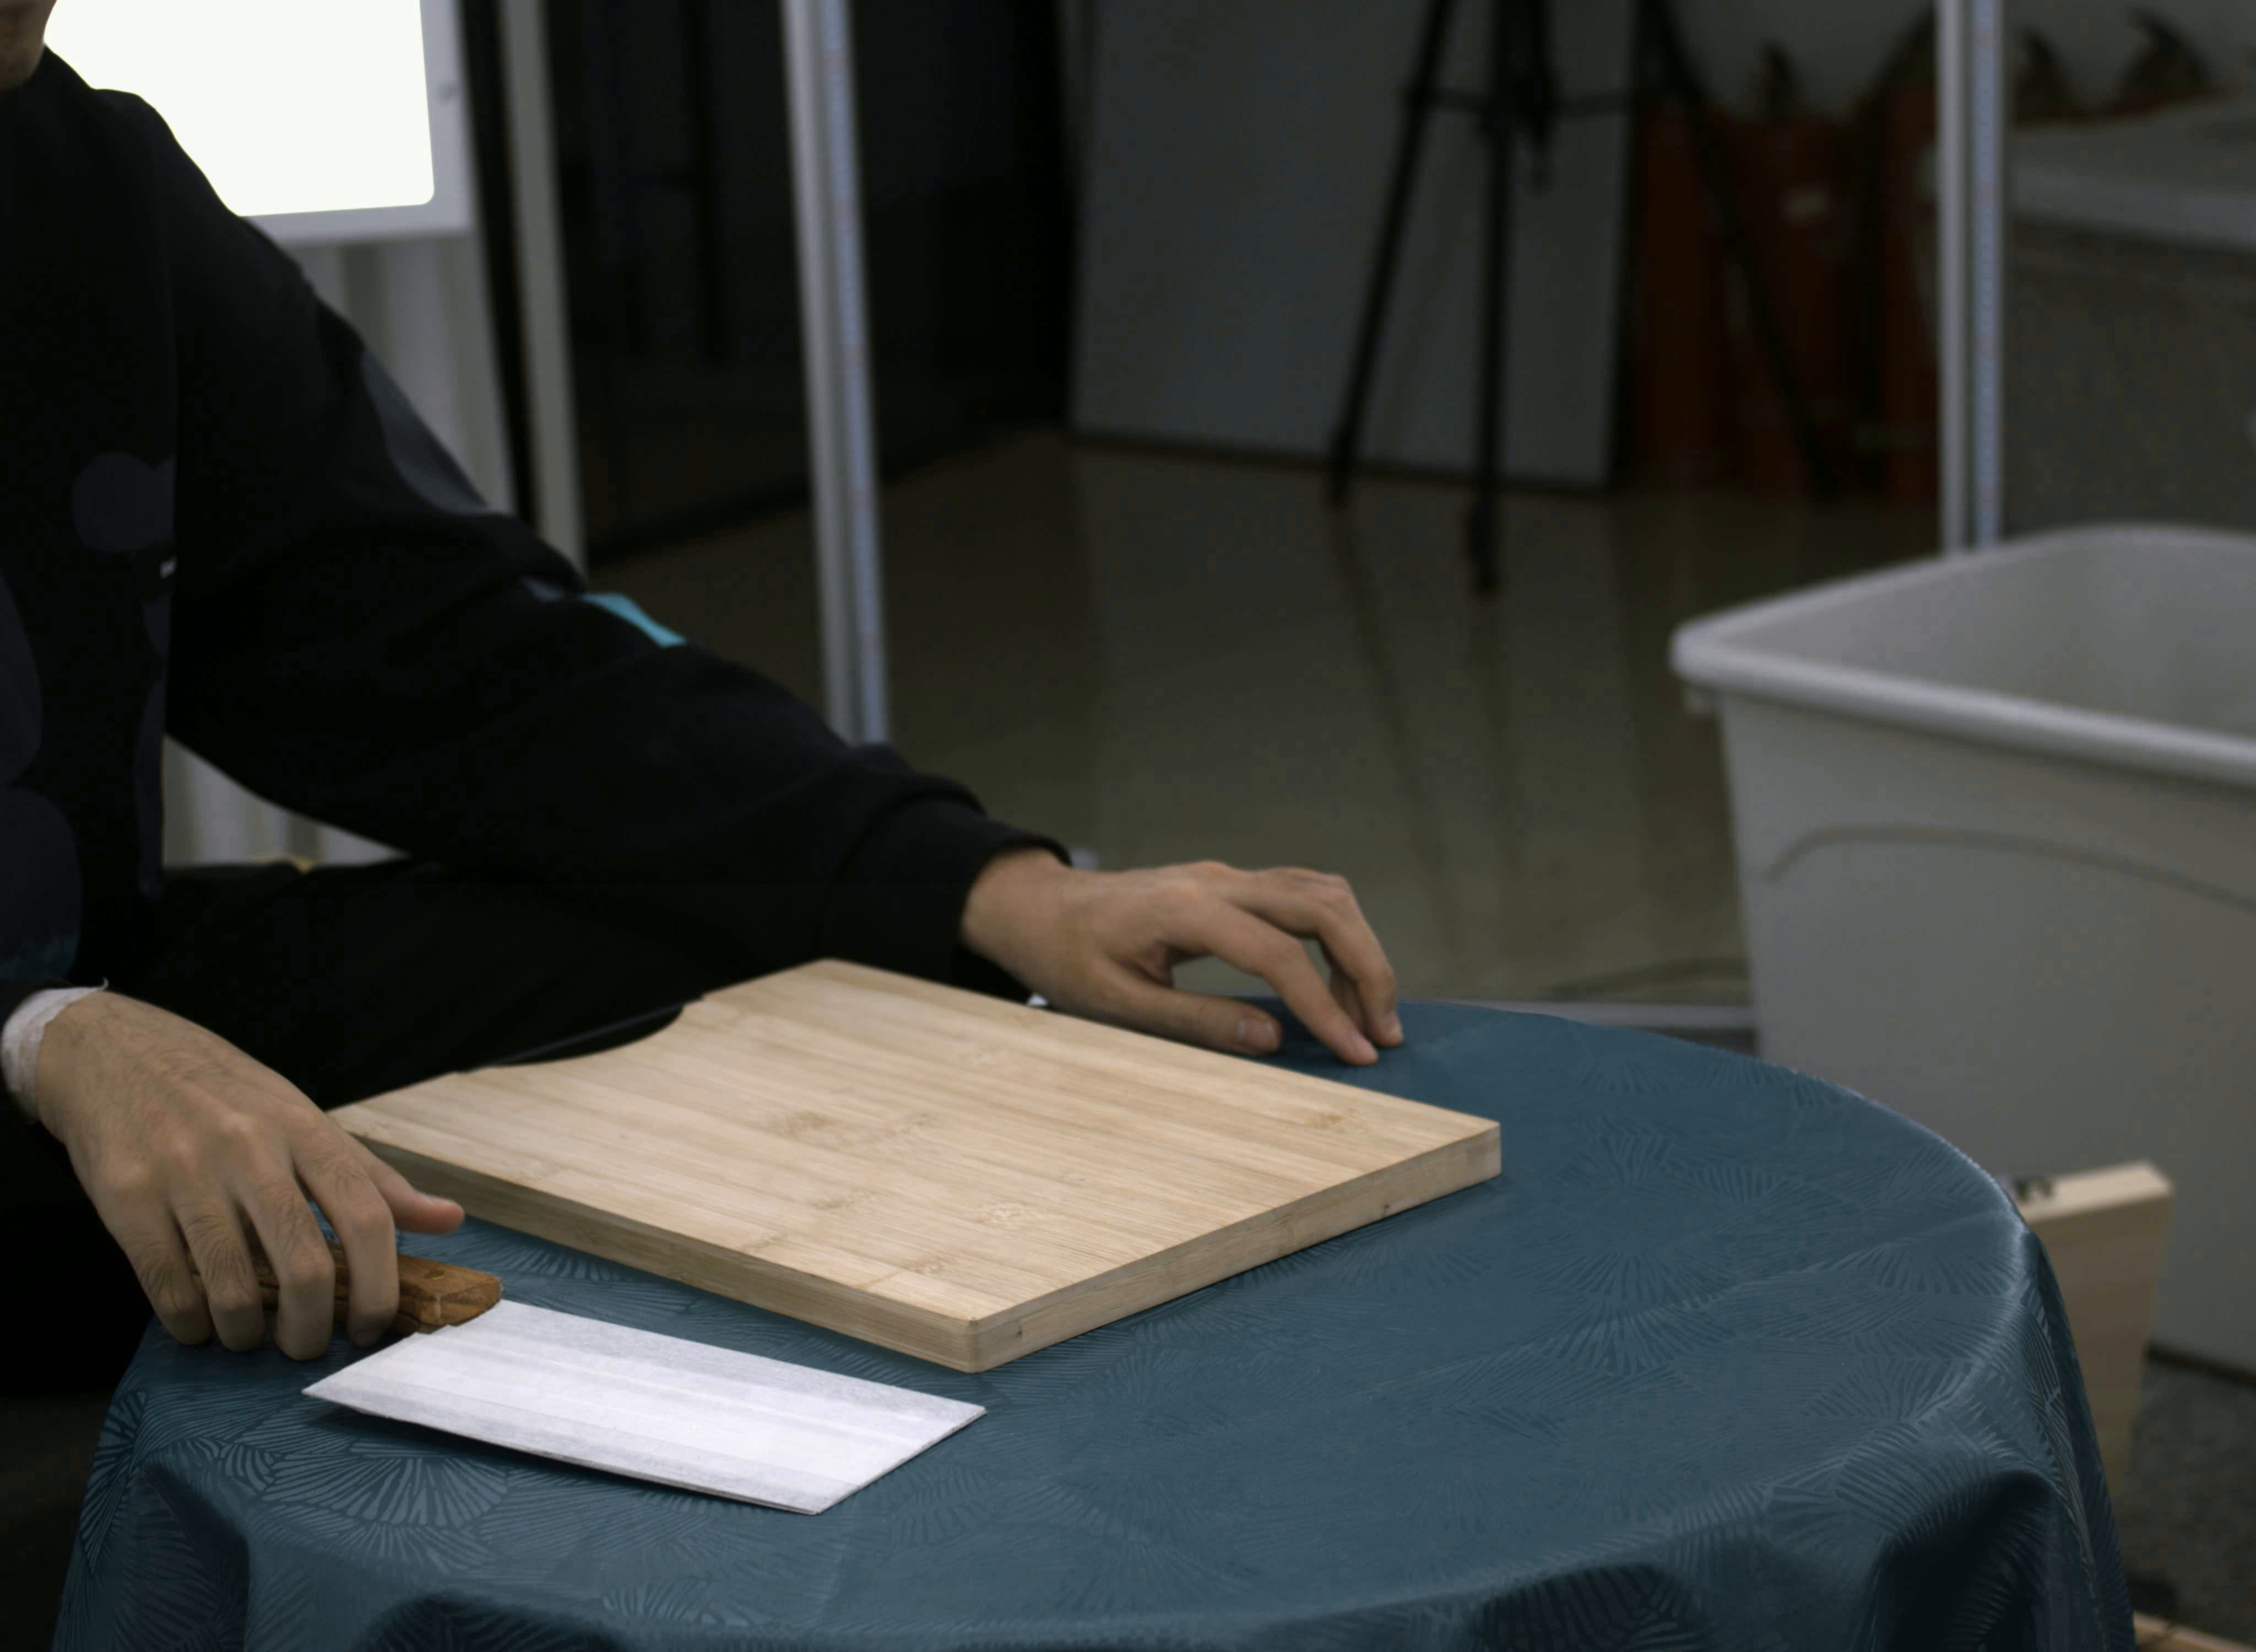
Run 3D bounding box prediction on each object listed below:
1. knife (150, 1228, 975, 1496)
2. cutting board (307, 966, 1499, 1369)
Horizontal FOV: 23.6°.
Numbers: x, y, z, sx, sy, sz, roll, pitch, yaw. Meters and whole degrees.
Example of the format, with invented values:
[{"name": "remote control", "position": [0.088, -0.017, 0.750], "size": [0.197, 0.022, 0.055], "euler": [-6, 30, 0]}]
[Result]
[{"name": "knife", "position": [-0.189, 0.163, 1.624], "size": [0.307, 0.021, 0.091], "euler": [8, 19, 33]}, {"name": "cutting board", "position": [-0.080, 0.109, 1.811], "size": [0.245, 0.024, 0.352], "euler": [-17, 18, -41]}]
